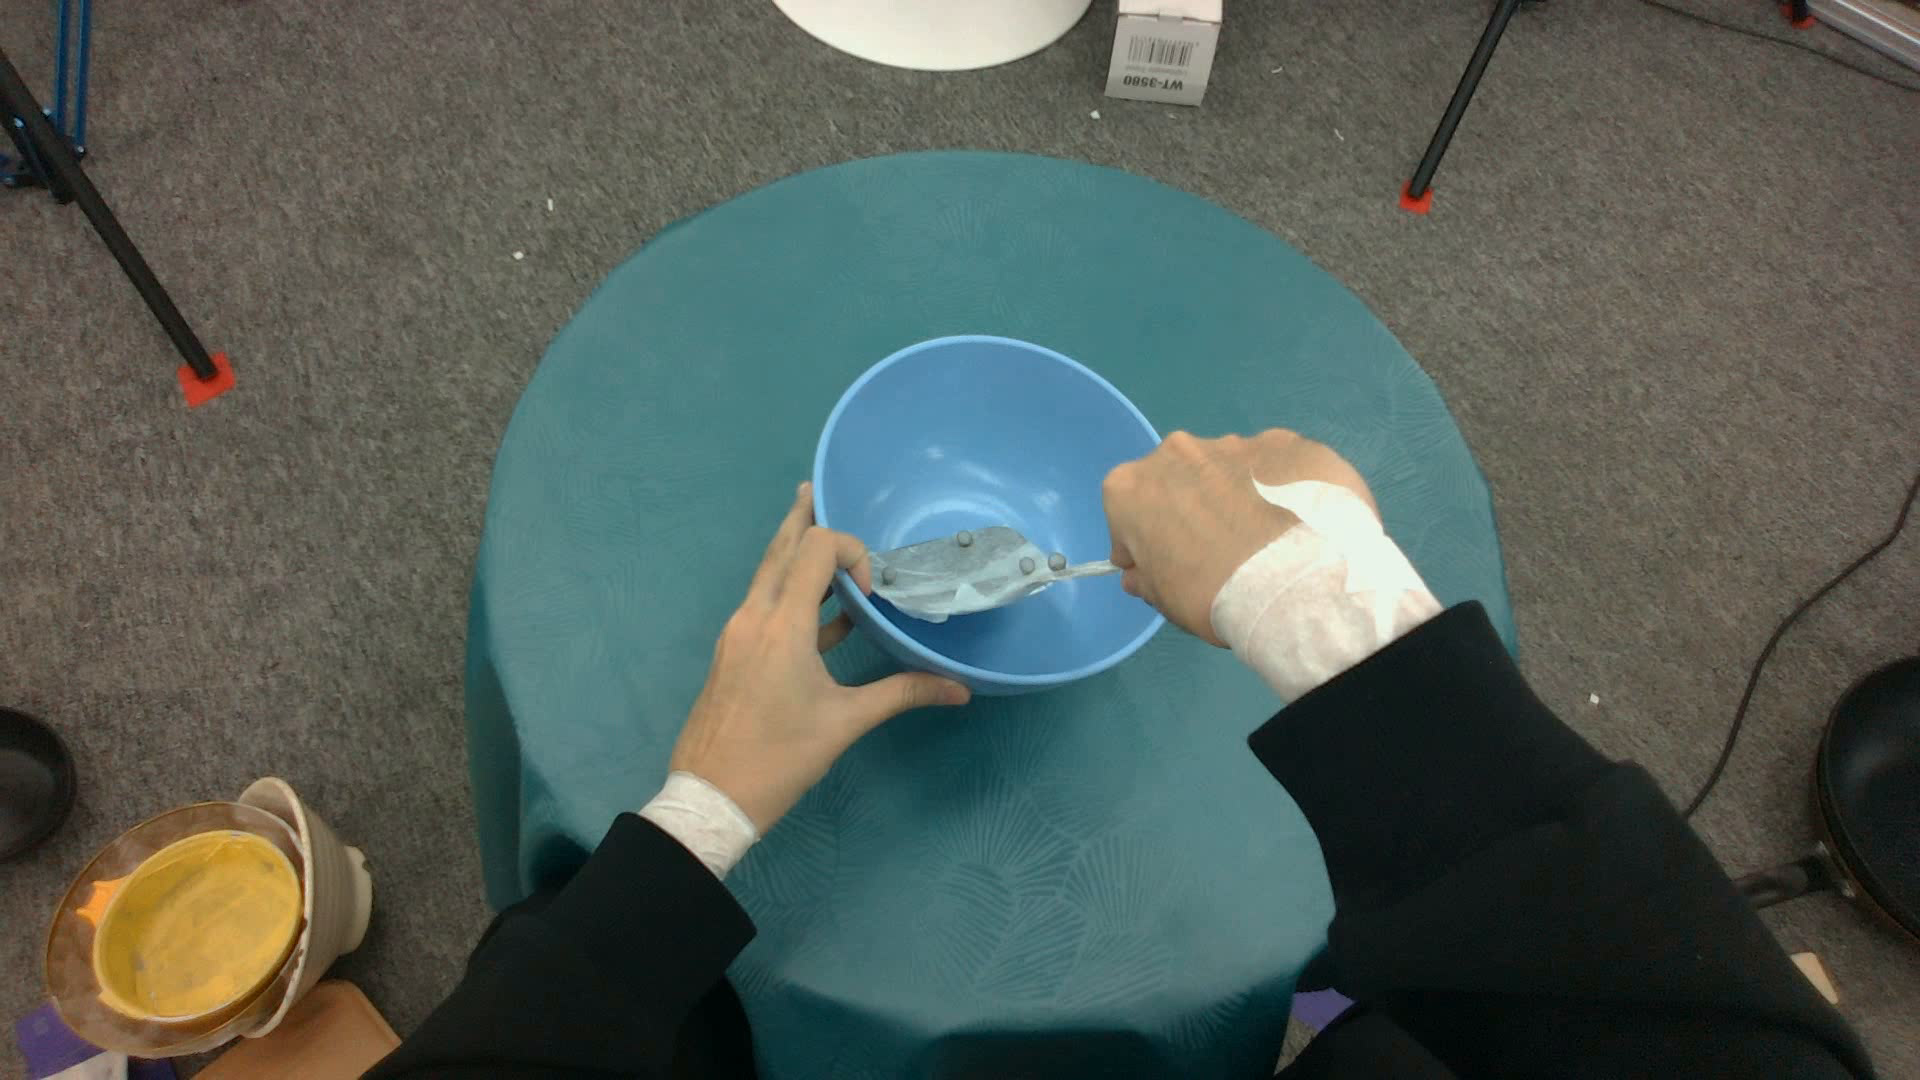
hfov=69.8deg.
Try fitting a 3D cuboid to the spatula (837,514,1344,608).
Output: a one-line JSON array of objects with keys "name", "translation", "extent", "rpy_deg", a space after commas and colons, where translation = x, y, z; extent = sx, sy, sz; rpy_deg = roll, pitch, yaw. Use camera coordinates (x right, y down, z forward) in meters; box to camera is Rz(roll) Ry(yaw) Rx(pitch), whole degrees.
[{"name": "spatula", "translation": [0.046, 0.006, 0.586], "extent": [0.099, 0.364, 0.045], "rpy_deg": [-14, 92, -23]}]

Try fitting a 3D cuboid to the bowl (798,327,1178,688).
[{"name": "bowl", "translation": [0.005, -0.004, 0.720], "extent": [0.196, 0.095, 0.197], "rpy_deg": [8, 61, -14]}]
